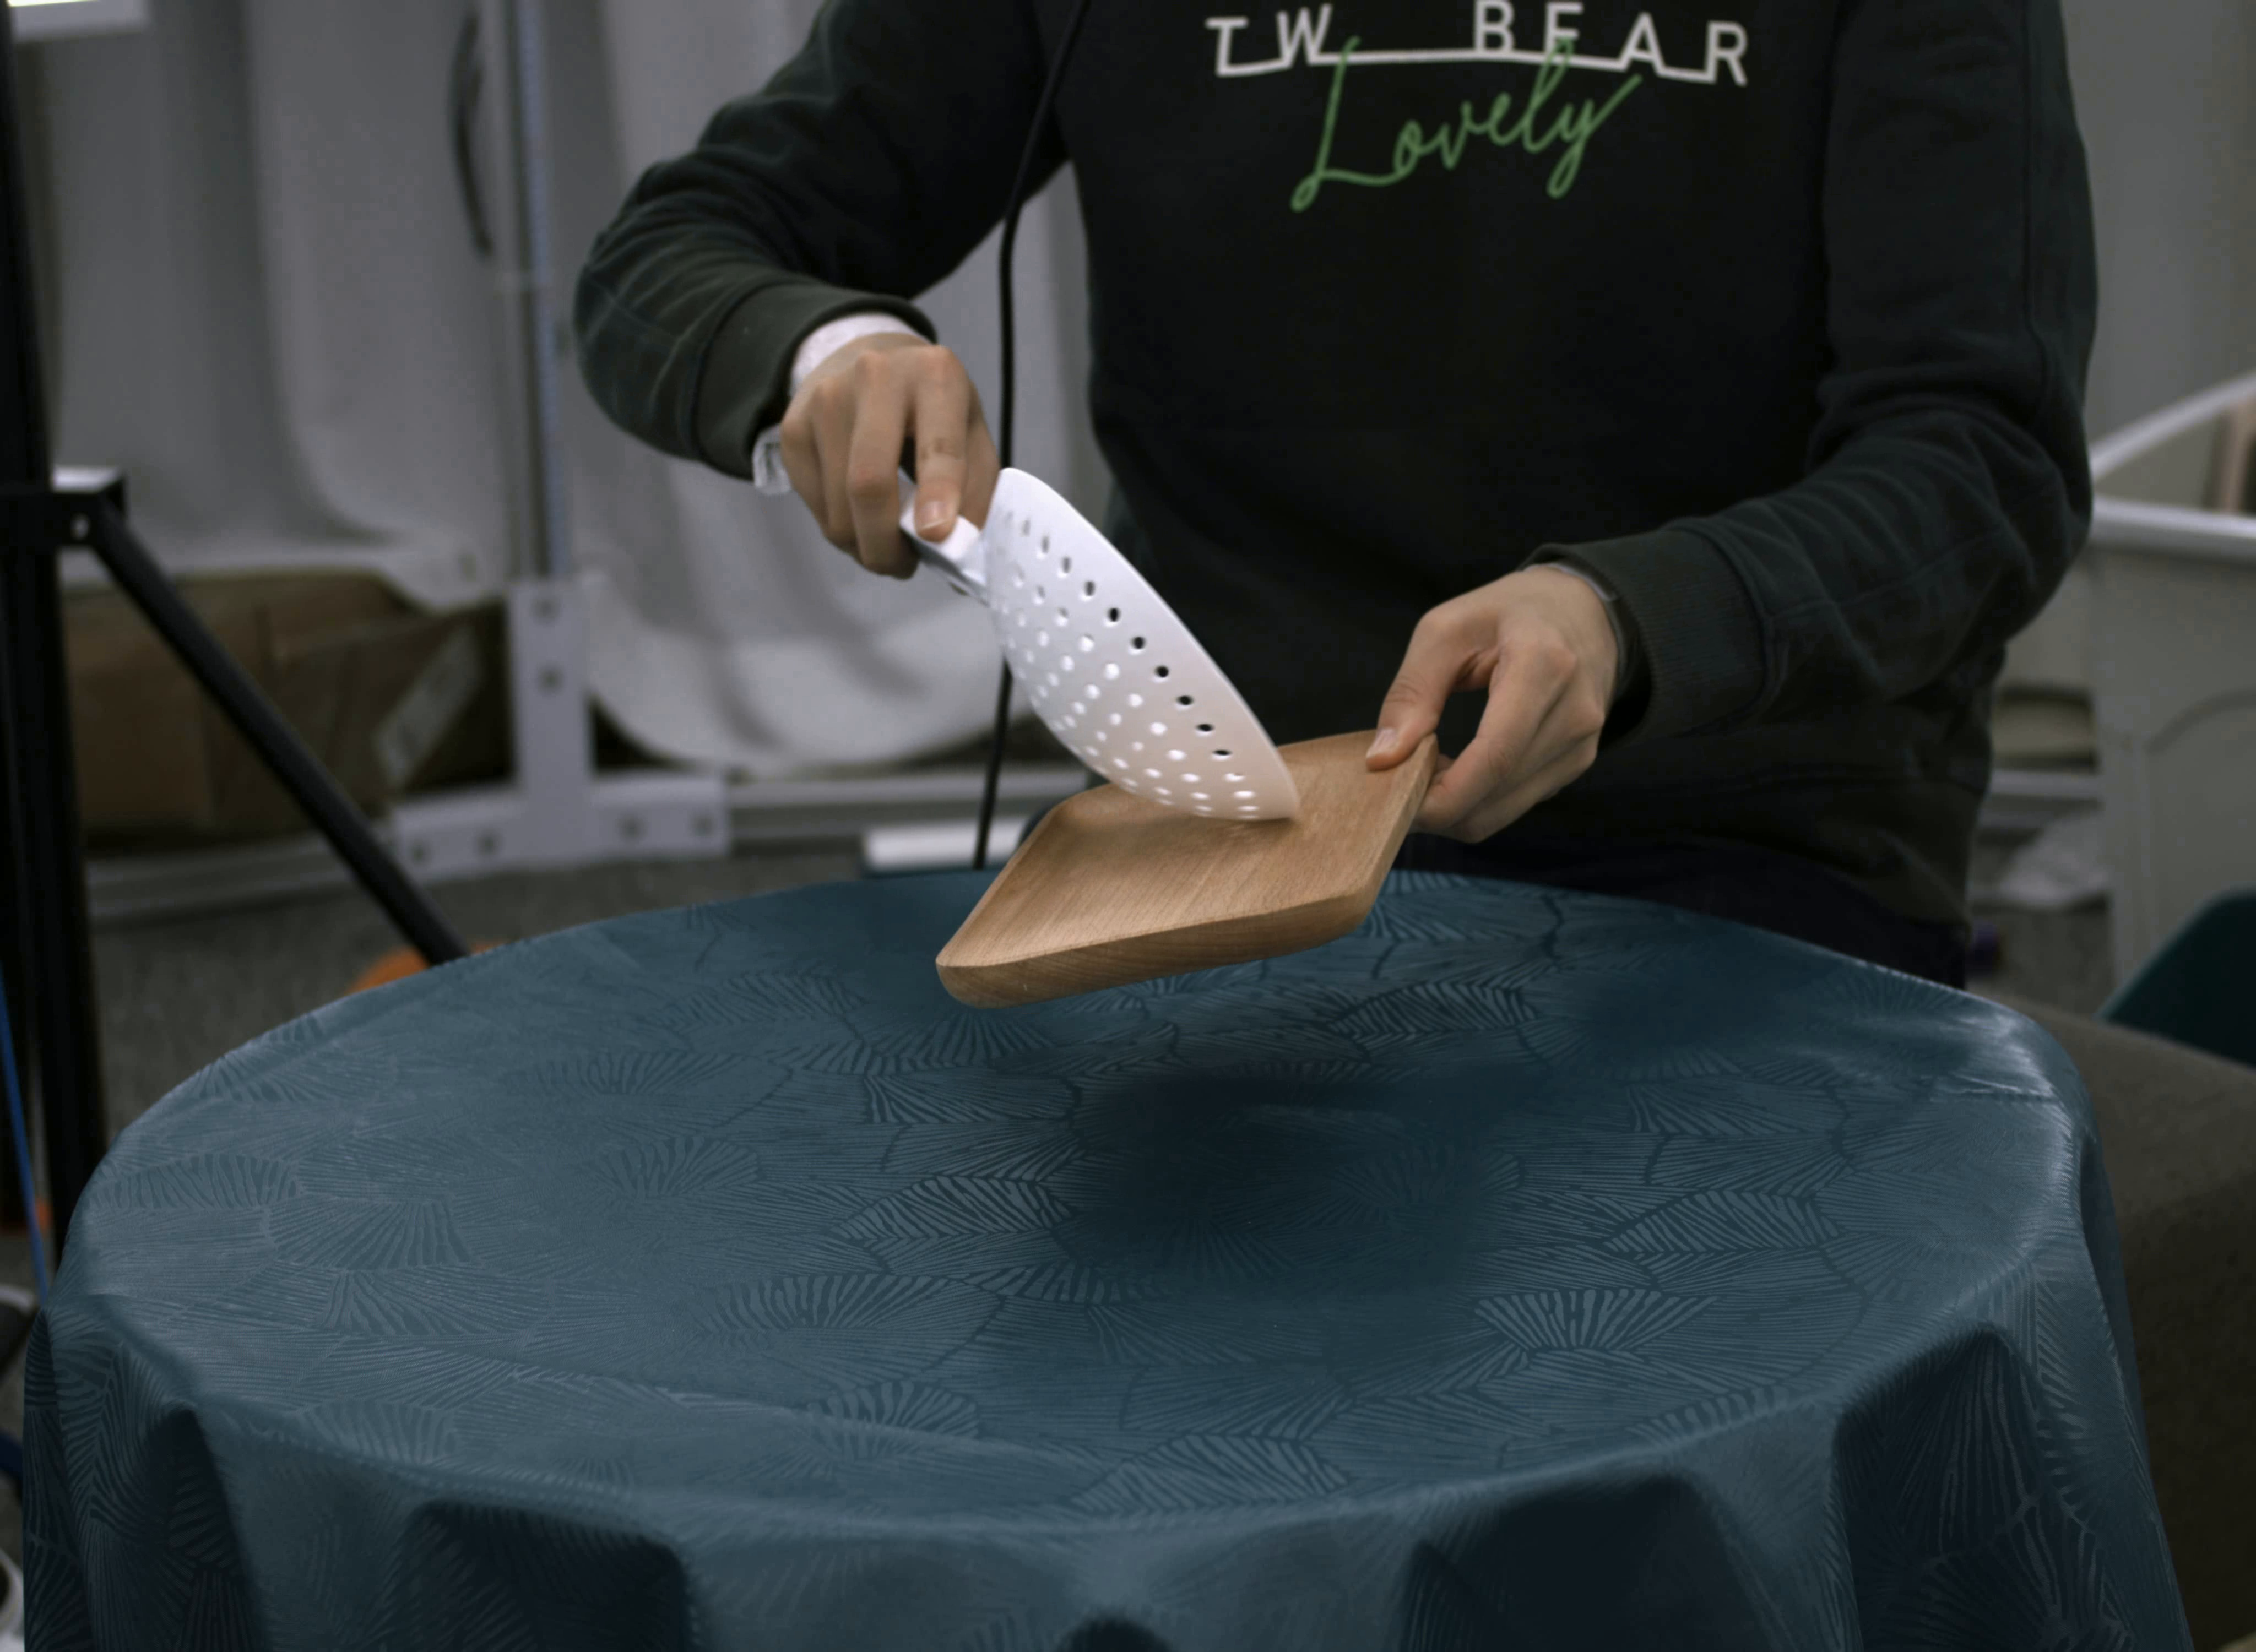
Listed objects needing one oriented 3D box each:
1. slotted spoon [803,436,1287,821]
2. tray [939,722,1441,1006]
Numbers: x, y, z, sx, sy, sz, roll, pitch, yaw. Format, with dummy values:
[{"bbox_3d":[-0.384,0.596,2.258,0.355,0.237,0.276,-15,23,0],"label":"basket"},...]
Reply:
[{"bbox_3d":[-0.040,-0.080,1.700,0.045,0.134,0.355,-36,24,-4],"label":"slotted spoon"},{"bbox_3d":[0.023,0.010,1.580,0.131,0.023,0.249,-9,10,11],"label":"tray"}]
